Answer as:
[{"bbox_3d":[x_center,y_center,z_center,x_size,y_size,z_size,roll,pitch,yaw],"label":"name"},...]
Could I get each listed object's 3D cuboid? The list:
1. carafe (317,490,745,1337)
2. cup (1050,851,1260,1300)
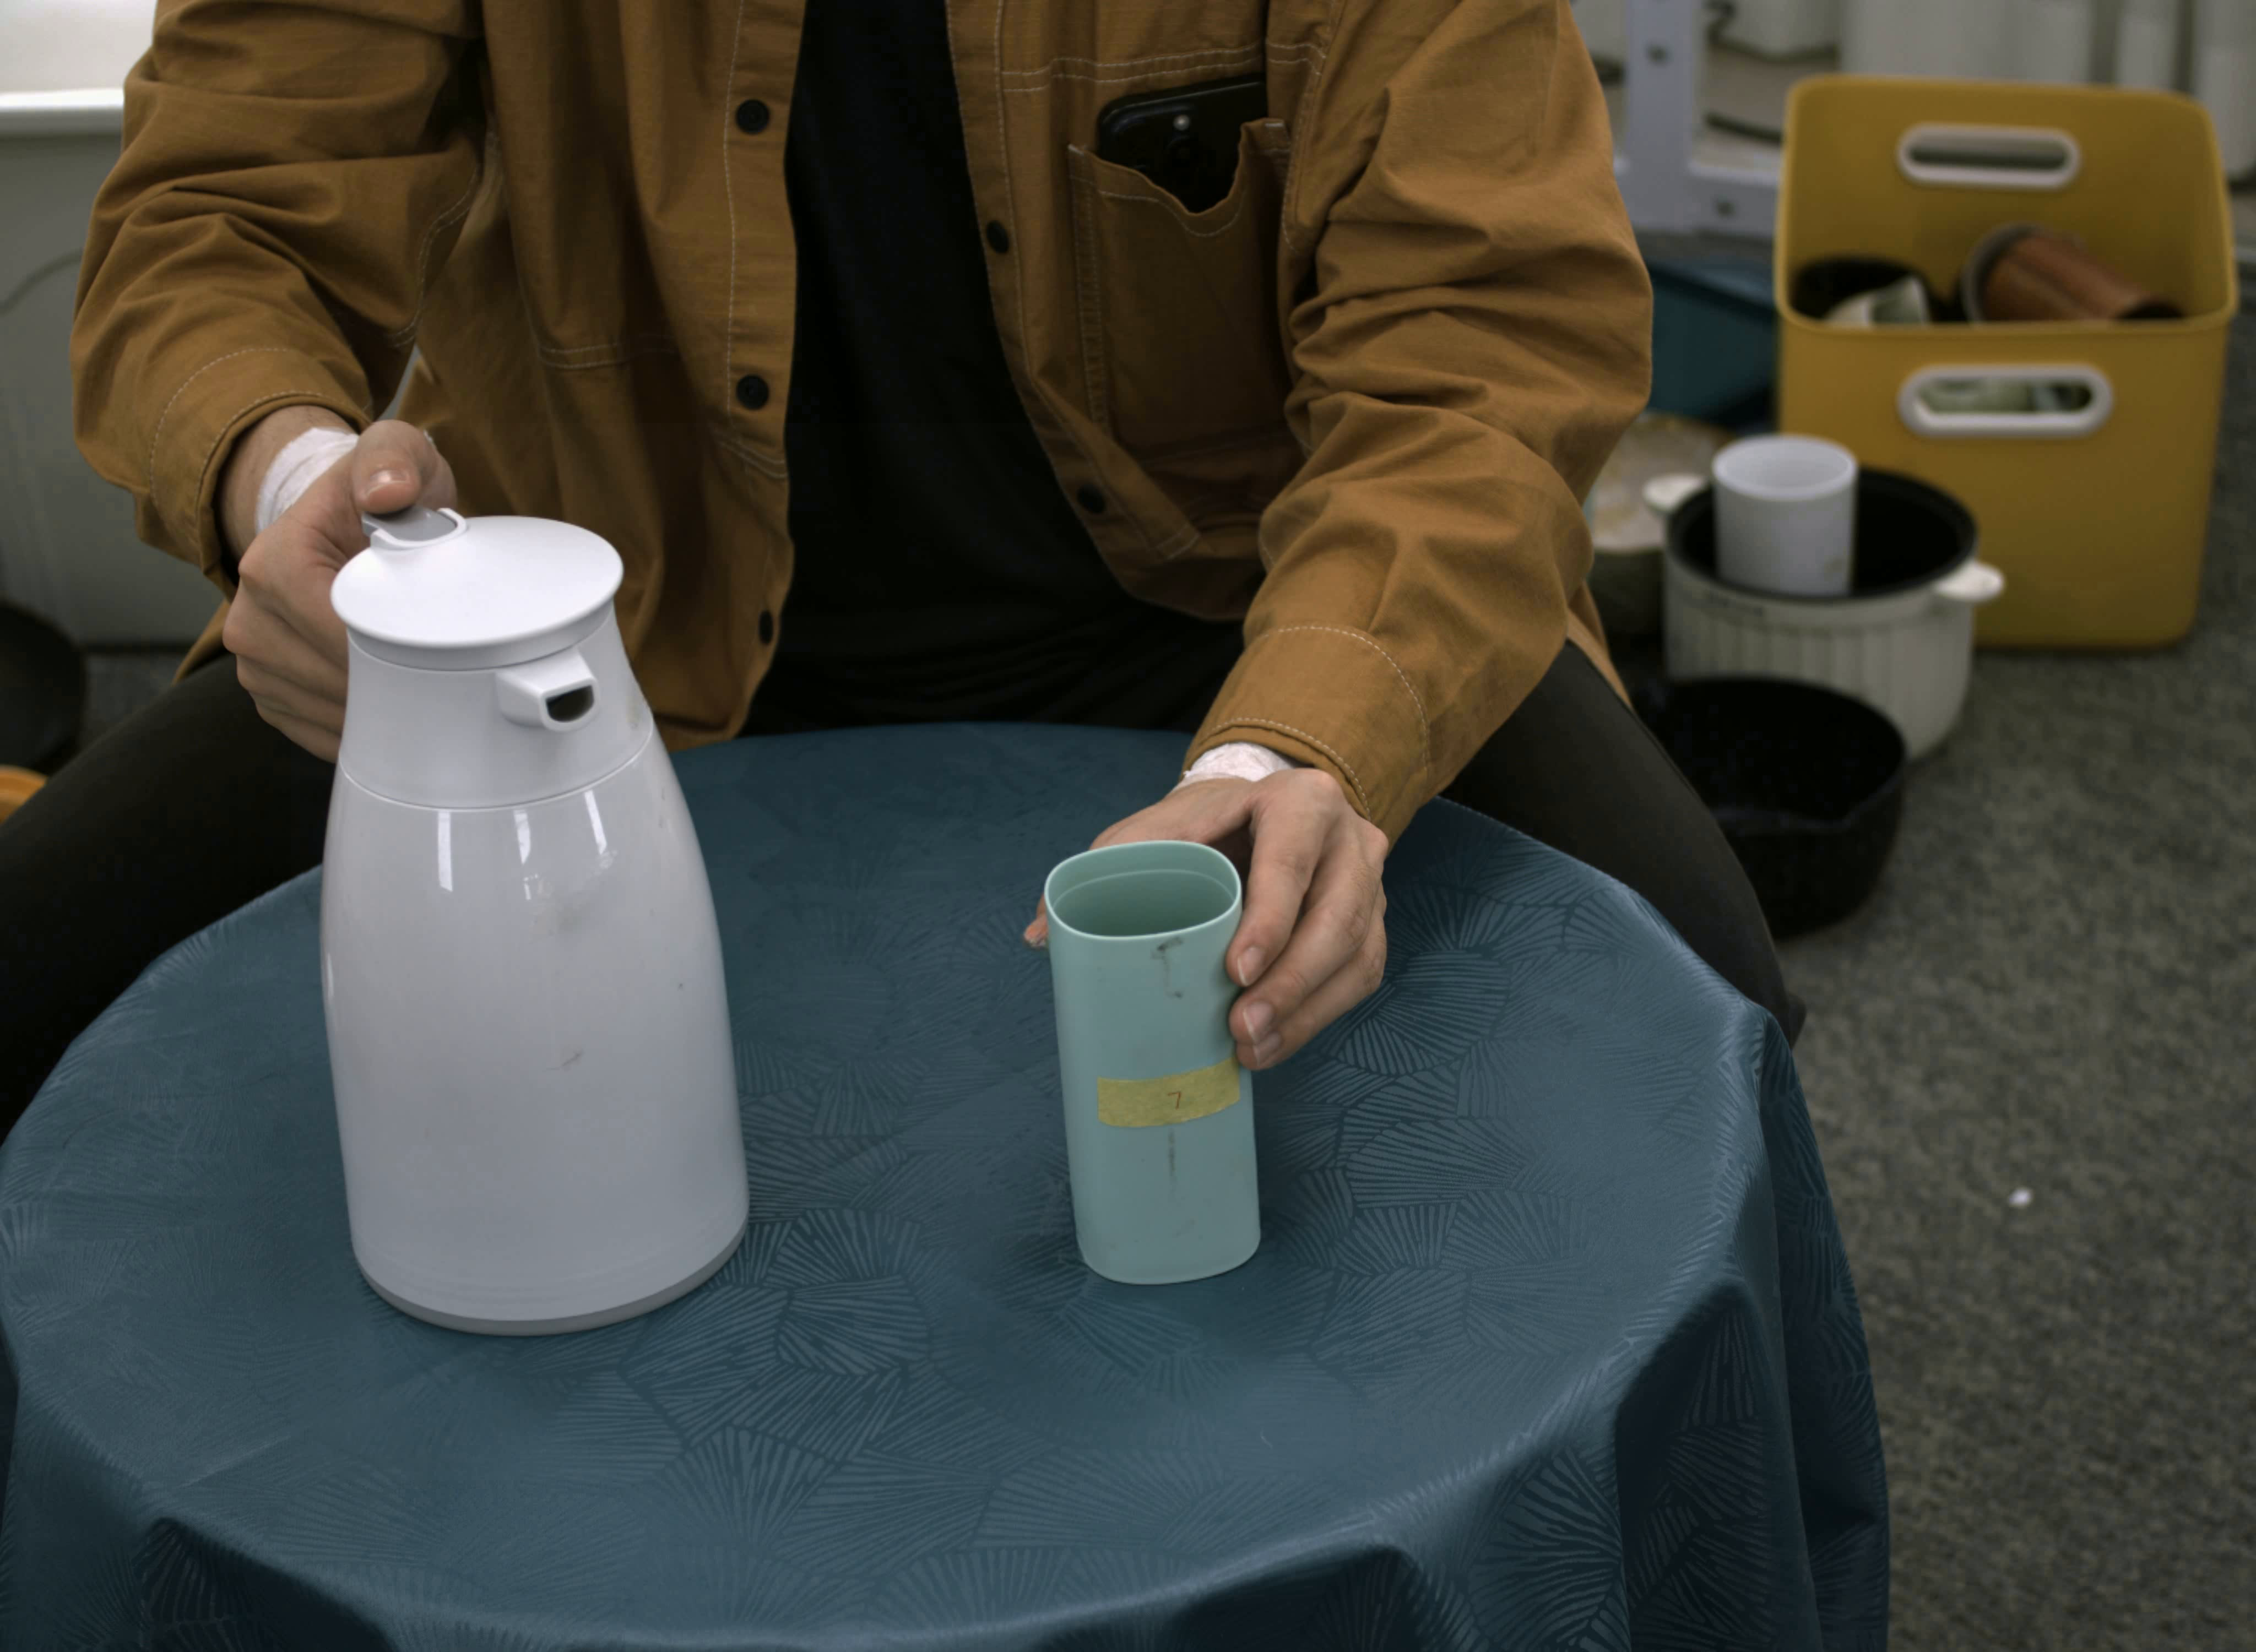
[{"bbox_3d":[-0.208,0.018,1.814,0.133,0.246,0.168,-19,30,-28],"label":"carafe"},{"bbox_3d":[0.009,0.079,1.805,0.066,0.131,0.068,-3,26,2],"label":"cup"}]
